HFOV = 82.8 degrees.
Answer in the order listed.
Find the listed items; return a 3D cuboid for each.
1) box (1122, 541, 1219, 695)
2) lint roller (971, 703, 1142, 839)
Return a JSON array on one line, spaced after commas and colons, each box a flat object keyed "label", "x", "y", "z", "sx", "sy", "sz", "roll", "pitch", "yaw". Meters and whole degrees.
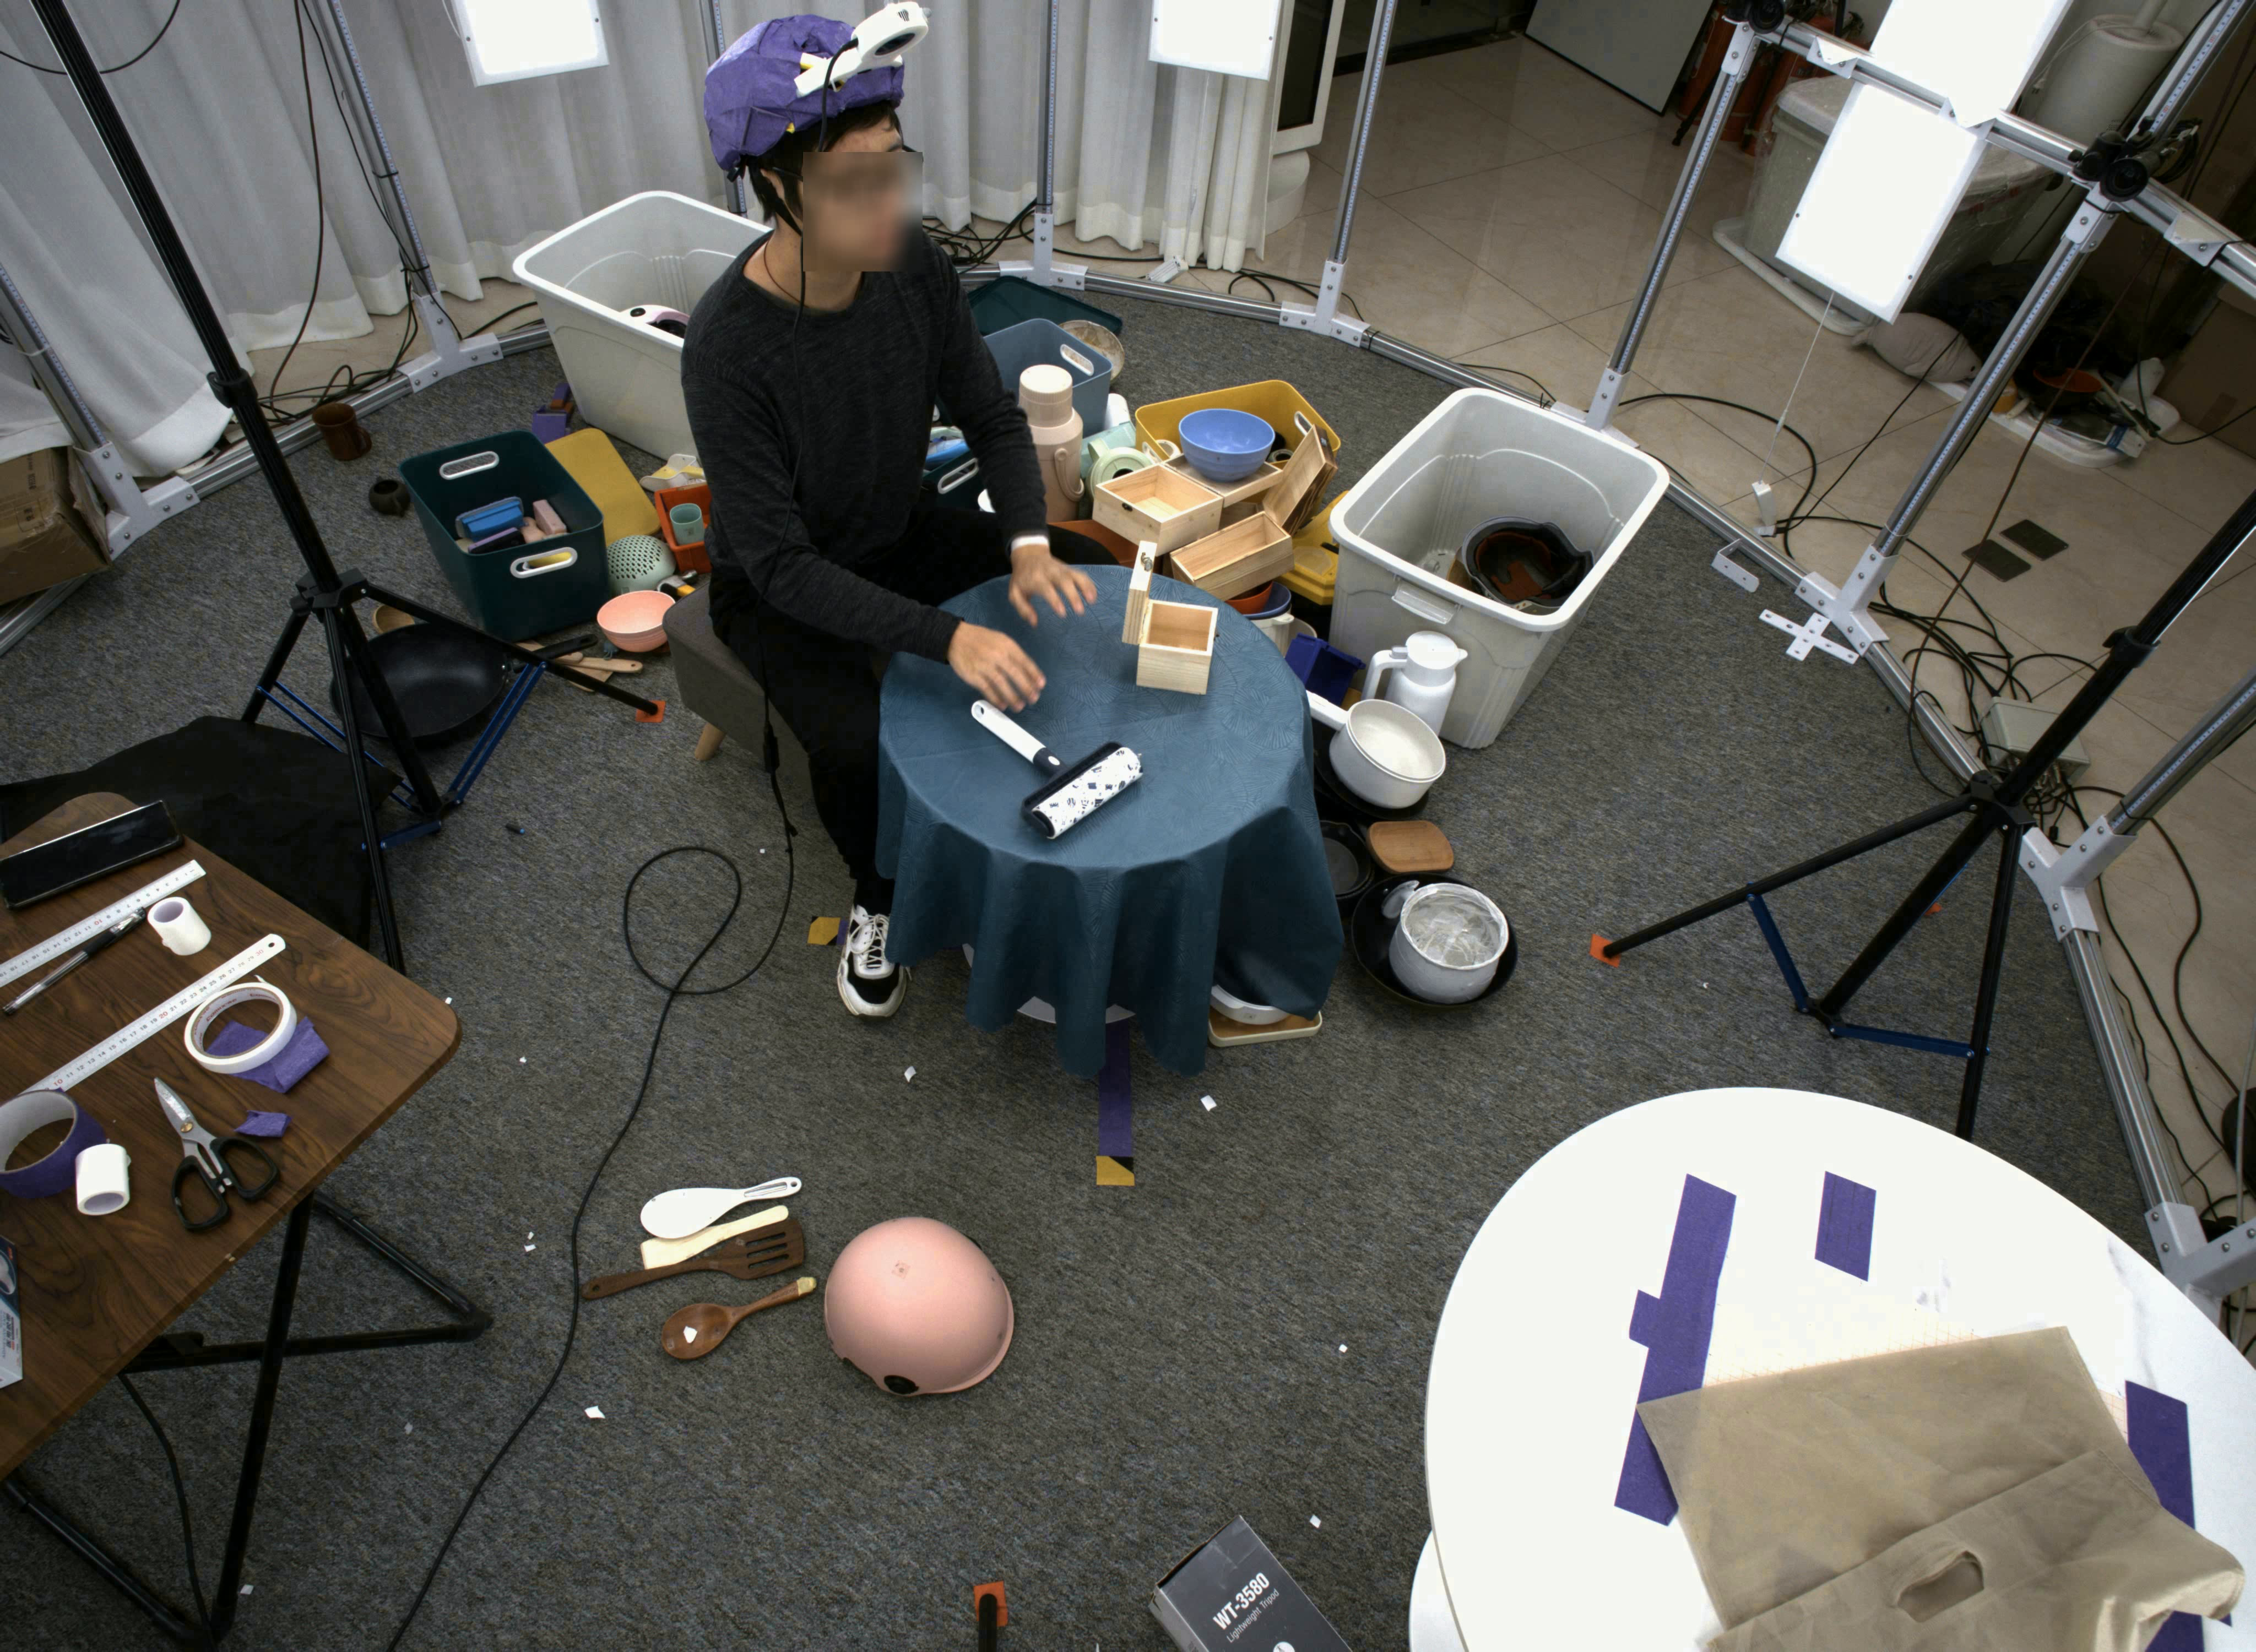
[{"label": "box", "x": 0.064, "y": -0.292, "z": 1.810, "sx": 0.134, "sy": 0.180, "sz": 0.105, "roll": 8, "pitch": 49, "yaw": 3}, {"label": "lint roller", "x": -0.126, "y": -0.100, "z": 1.720, "sx": 0.251, "sy": 0.049, "sz": 0.178, "roll": 38, "pitch": 58, "yaw": 26}]
